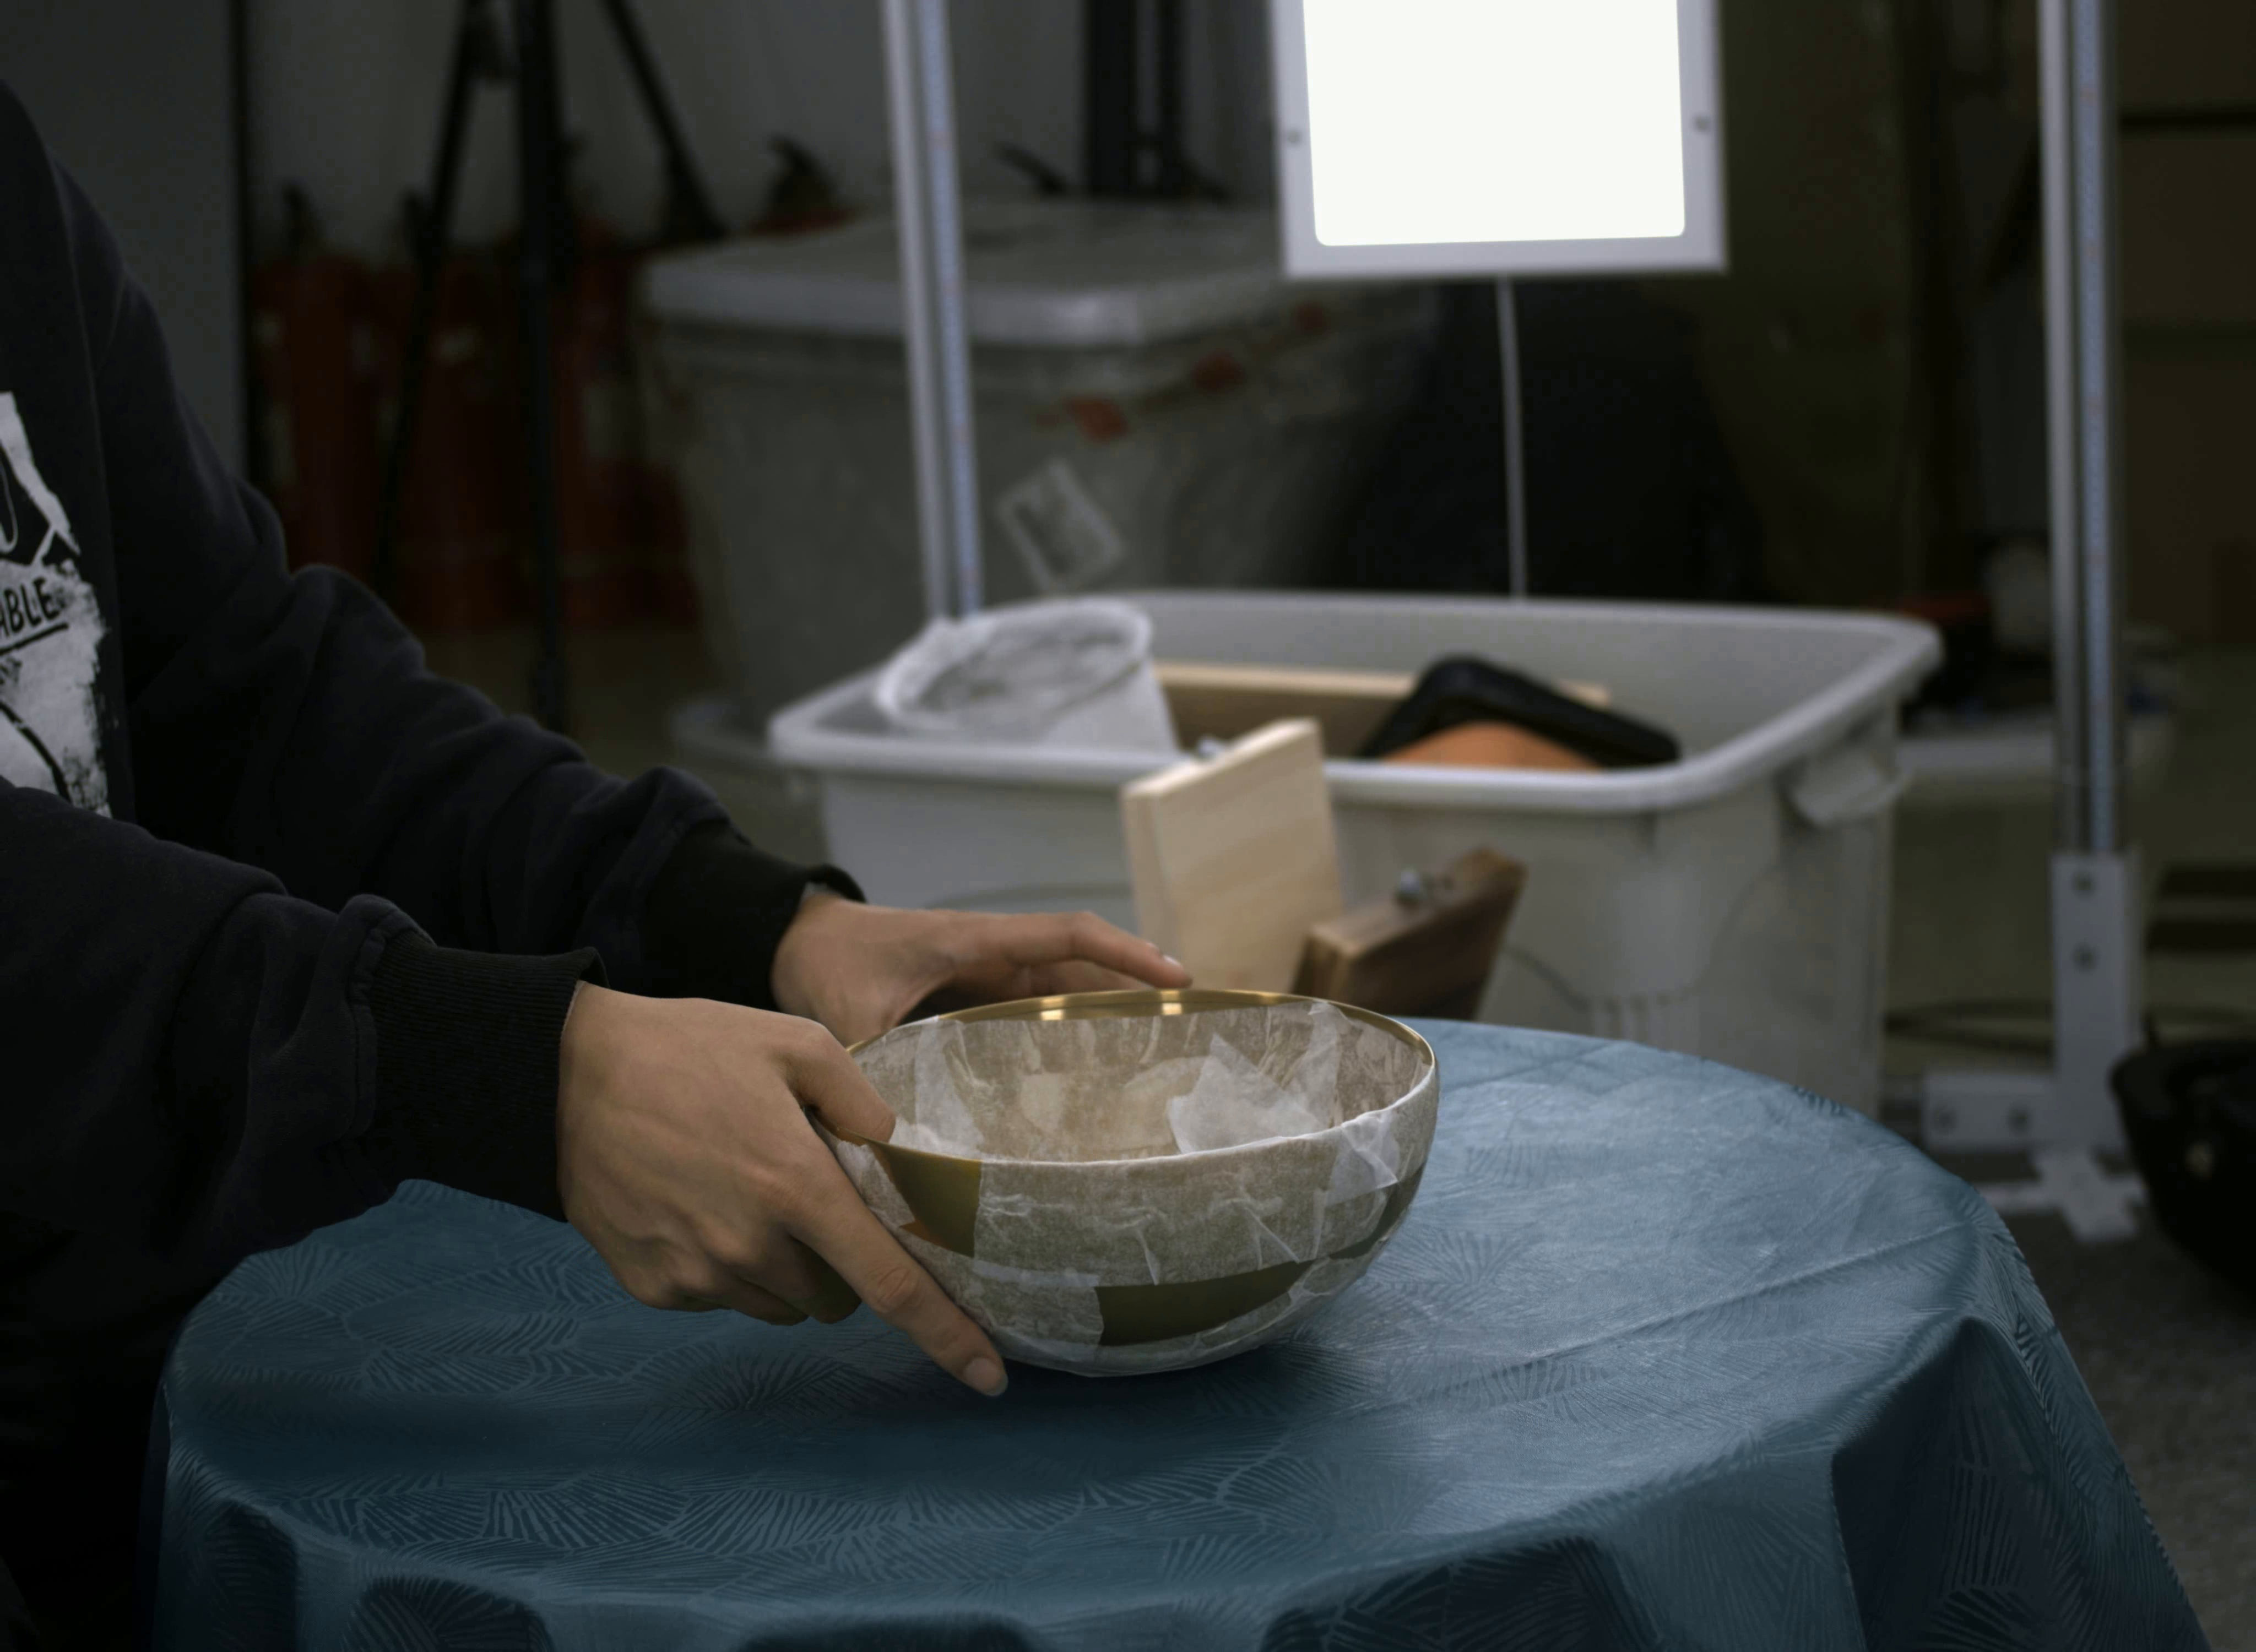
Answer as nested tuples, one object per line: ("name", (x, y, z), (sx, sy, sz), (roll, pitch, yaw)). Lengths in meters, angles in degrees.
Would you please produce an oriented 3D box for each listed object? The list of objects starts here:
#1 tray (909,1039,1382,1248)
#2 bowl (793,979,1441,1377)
("tray", (0.004, 0.110, 1.932), (0.099, 0.020, 0.235), (-14, 18, -26))
("bowl", (0.000, 0.118, 1.737), (0.214, 0.095, 0.214), (-5, 14, 0))
